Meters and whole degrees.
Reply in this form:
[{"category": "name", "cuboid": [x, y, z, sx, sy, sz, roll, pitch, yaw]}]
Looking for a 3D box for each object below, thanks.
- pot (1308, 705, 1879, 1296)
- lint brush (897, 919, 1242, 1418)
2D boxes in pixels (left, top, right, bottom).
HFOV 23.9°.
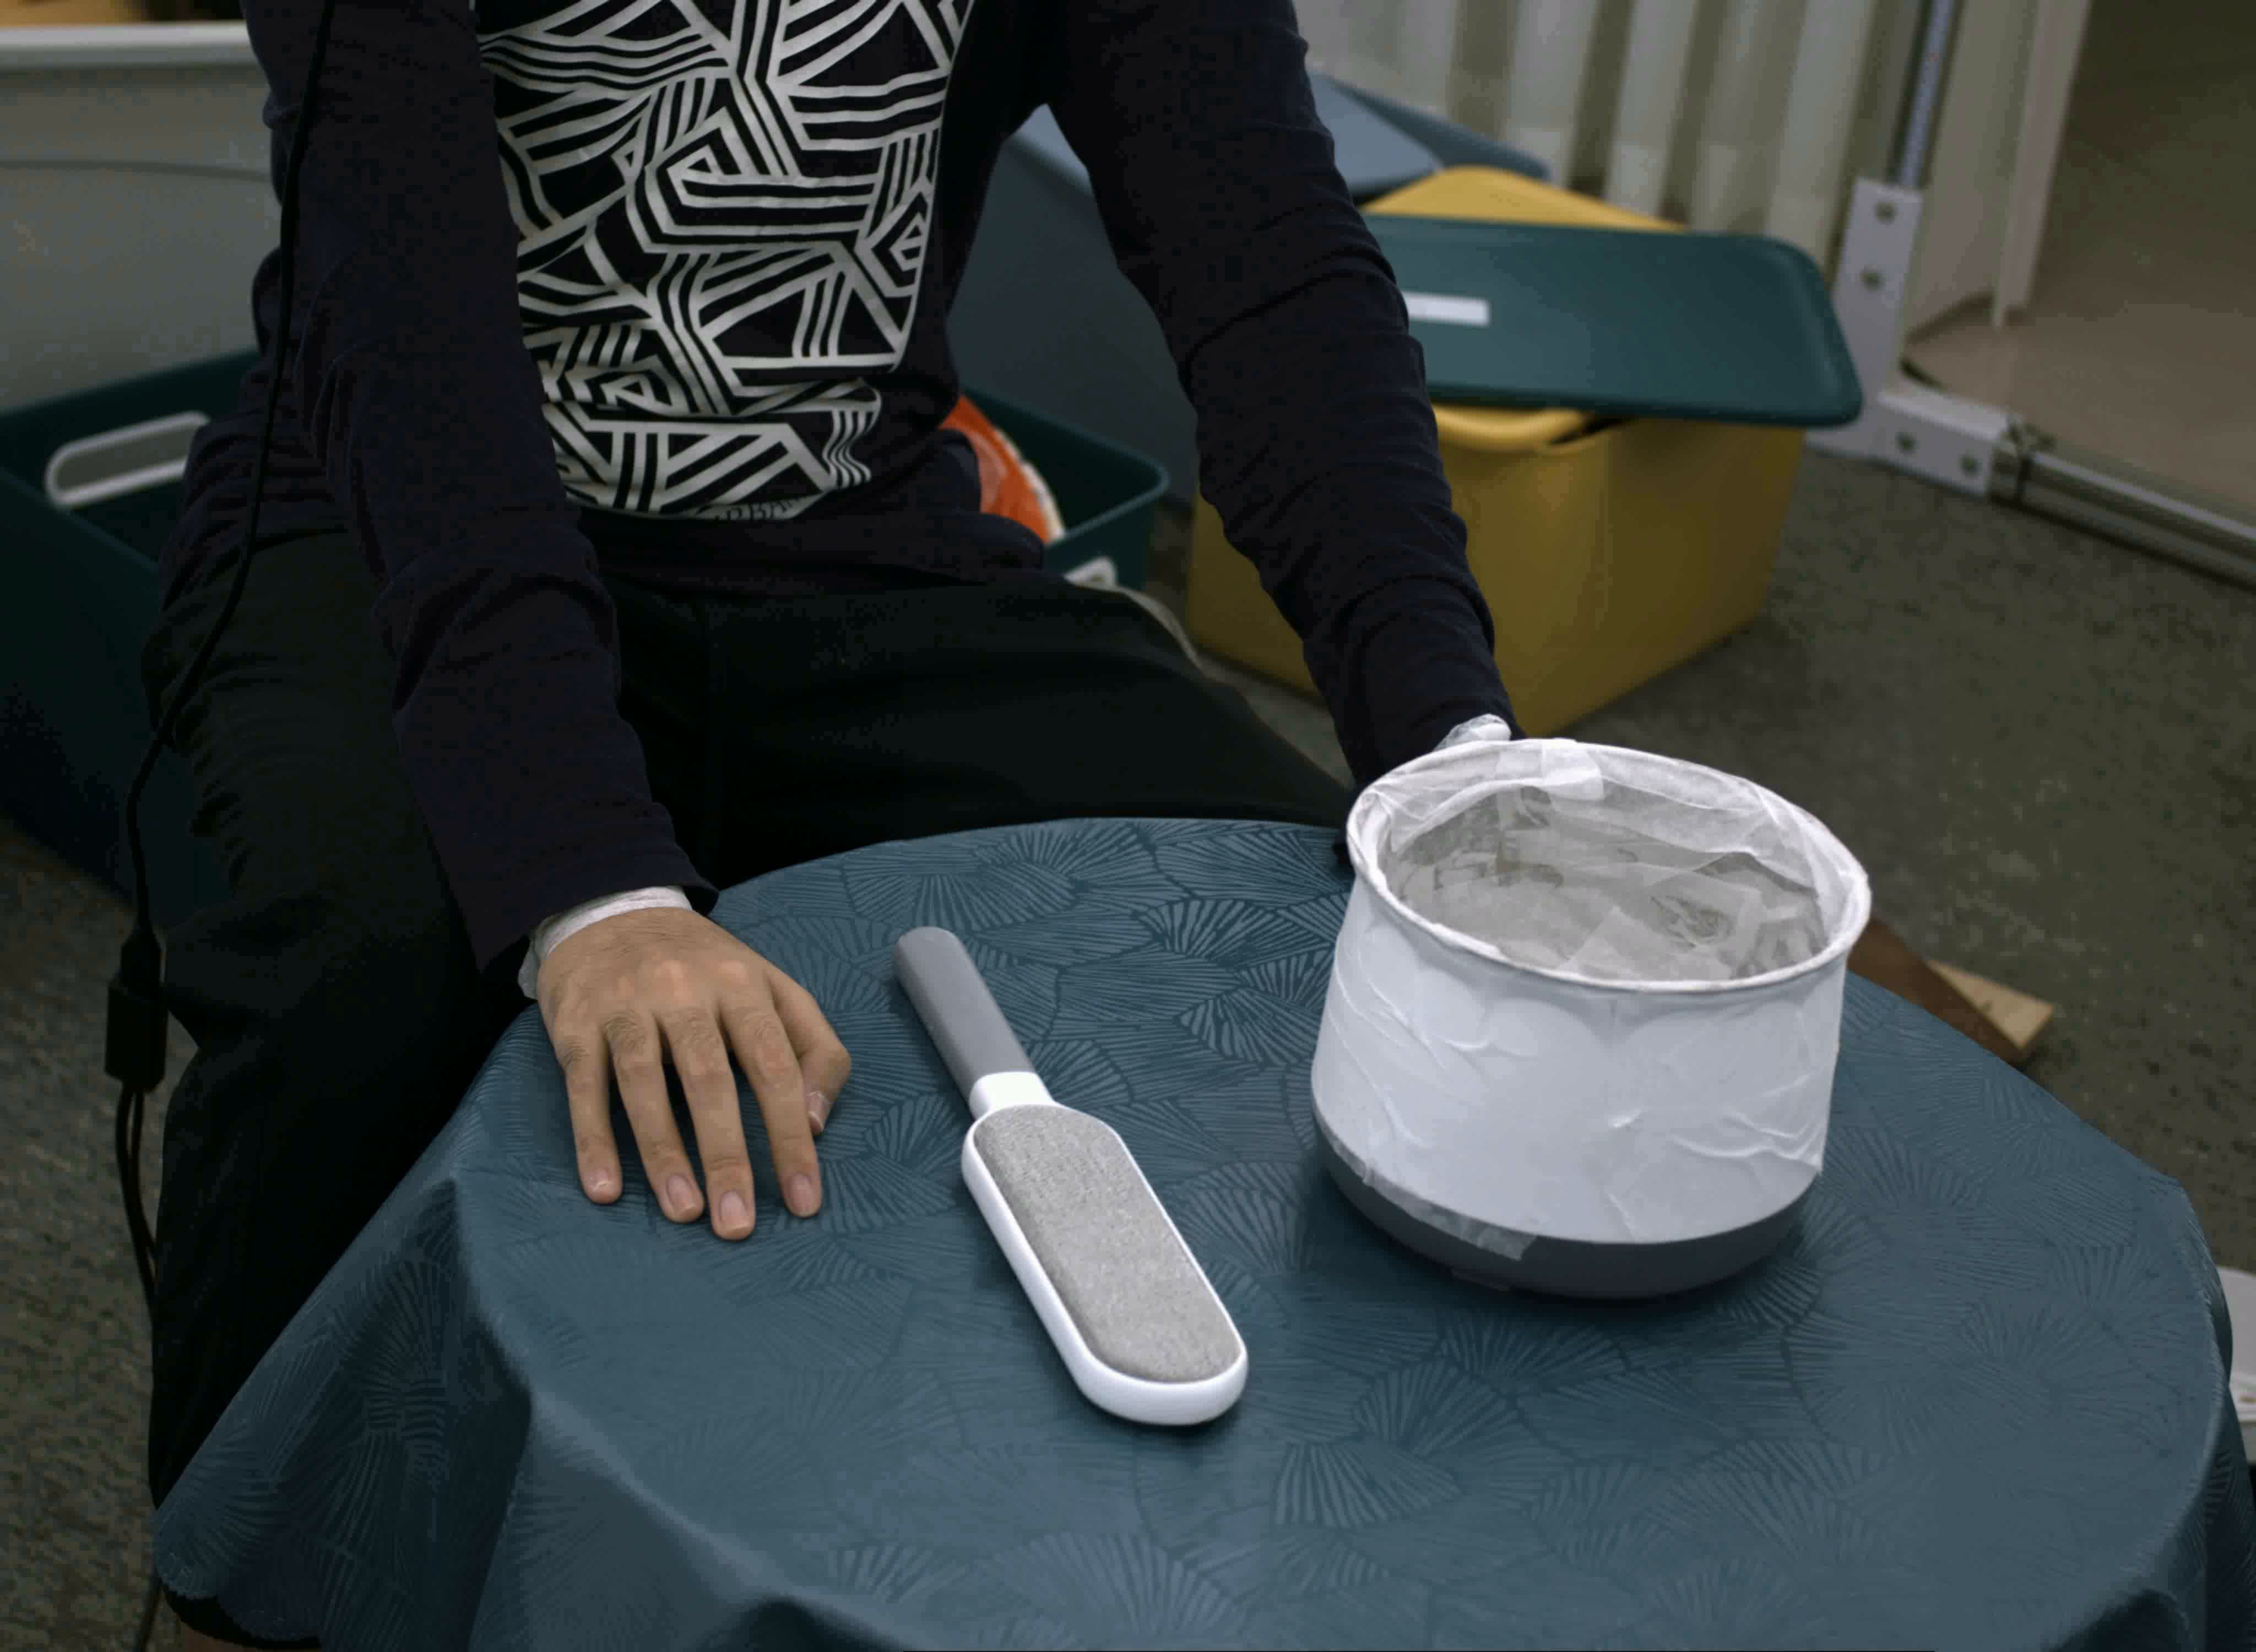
[{"category": "pot", "cuboid": [0.144, 0.052, 1.823, 0.177, 0.136, 0.236, -2, 28, -23]}, {"category": "lint brush", "cuboid": [-0.027, 0.110, 1.797, 0.060, 0.021, 0.311, -8, 29, -15]}]
